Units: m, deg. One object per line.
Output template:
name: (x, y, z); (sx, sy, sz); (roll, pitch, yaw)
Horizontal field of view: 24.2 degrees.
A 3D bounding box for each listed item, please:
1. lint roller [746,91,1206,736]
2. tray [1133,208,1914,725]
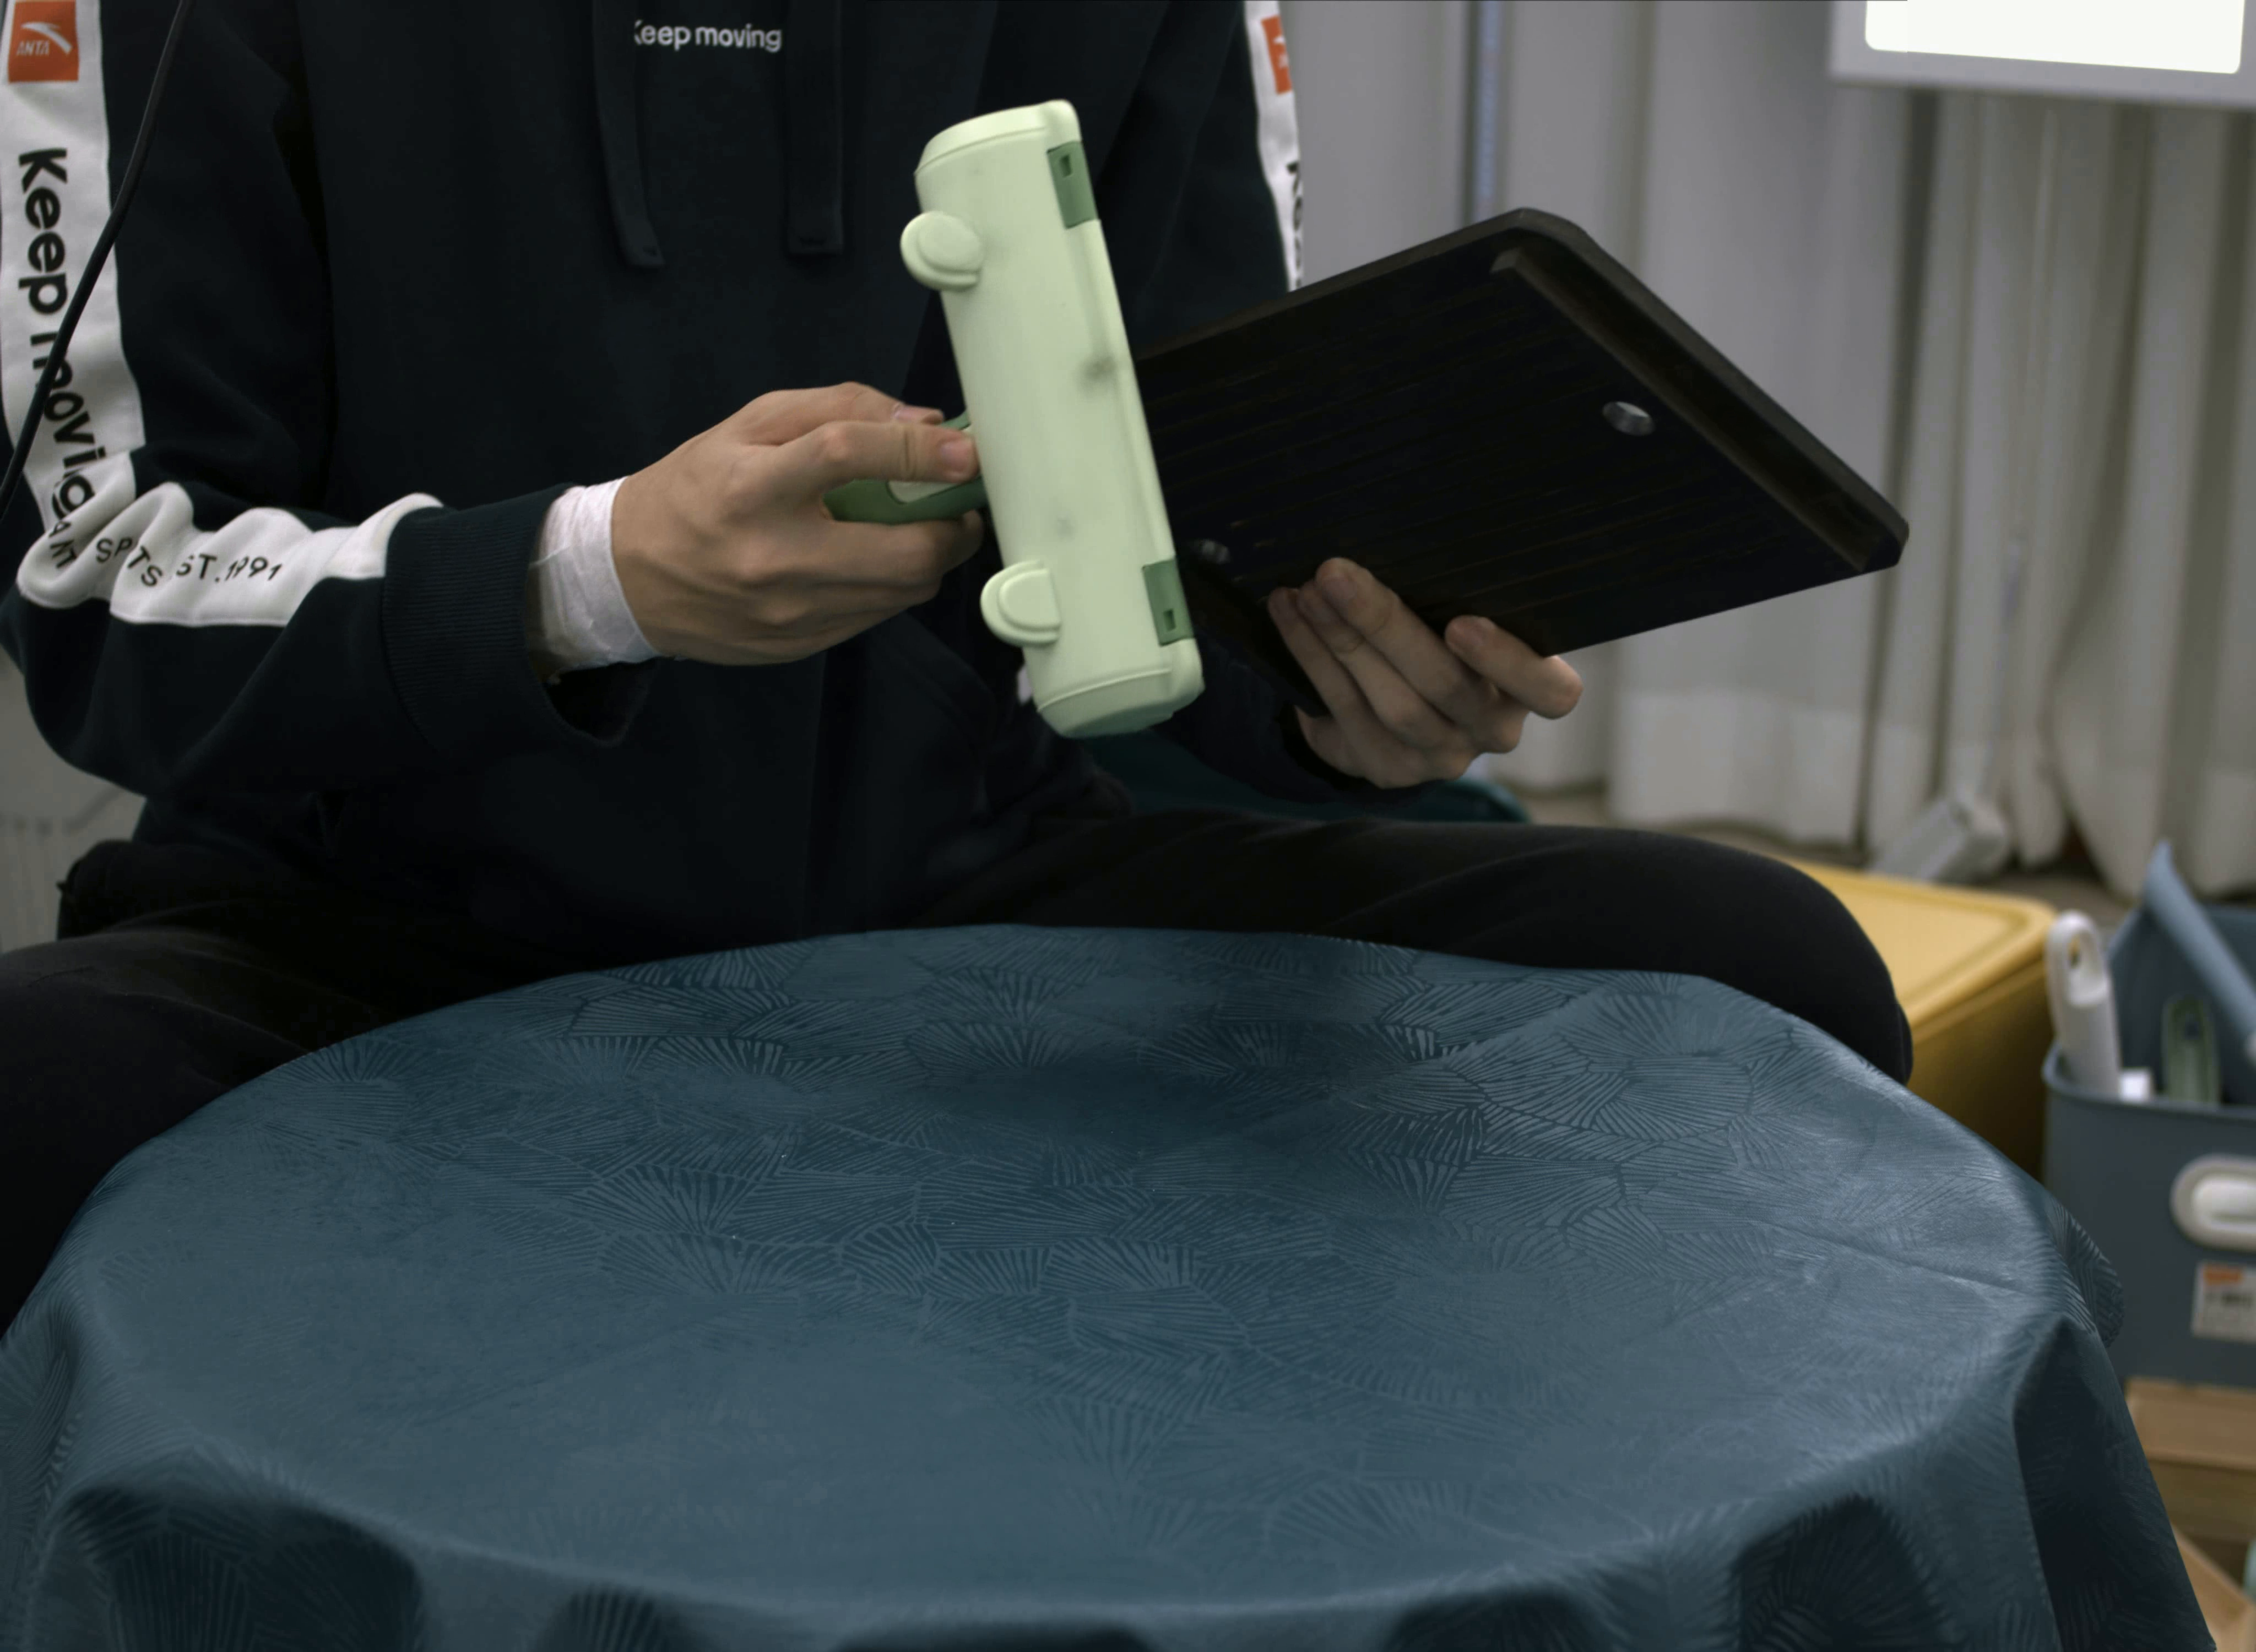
lint roller: (-0.068, -0.114, 1.672); (0.182, 0.198, 0.083); (-17, -8, 32)
tray: (0.091, -0.104, 1.660); (0.172, 0.018, 0.303); (38, -28, -25)
